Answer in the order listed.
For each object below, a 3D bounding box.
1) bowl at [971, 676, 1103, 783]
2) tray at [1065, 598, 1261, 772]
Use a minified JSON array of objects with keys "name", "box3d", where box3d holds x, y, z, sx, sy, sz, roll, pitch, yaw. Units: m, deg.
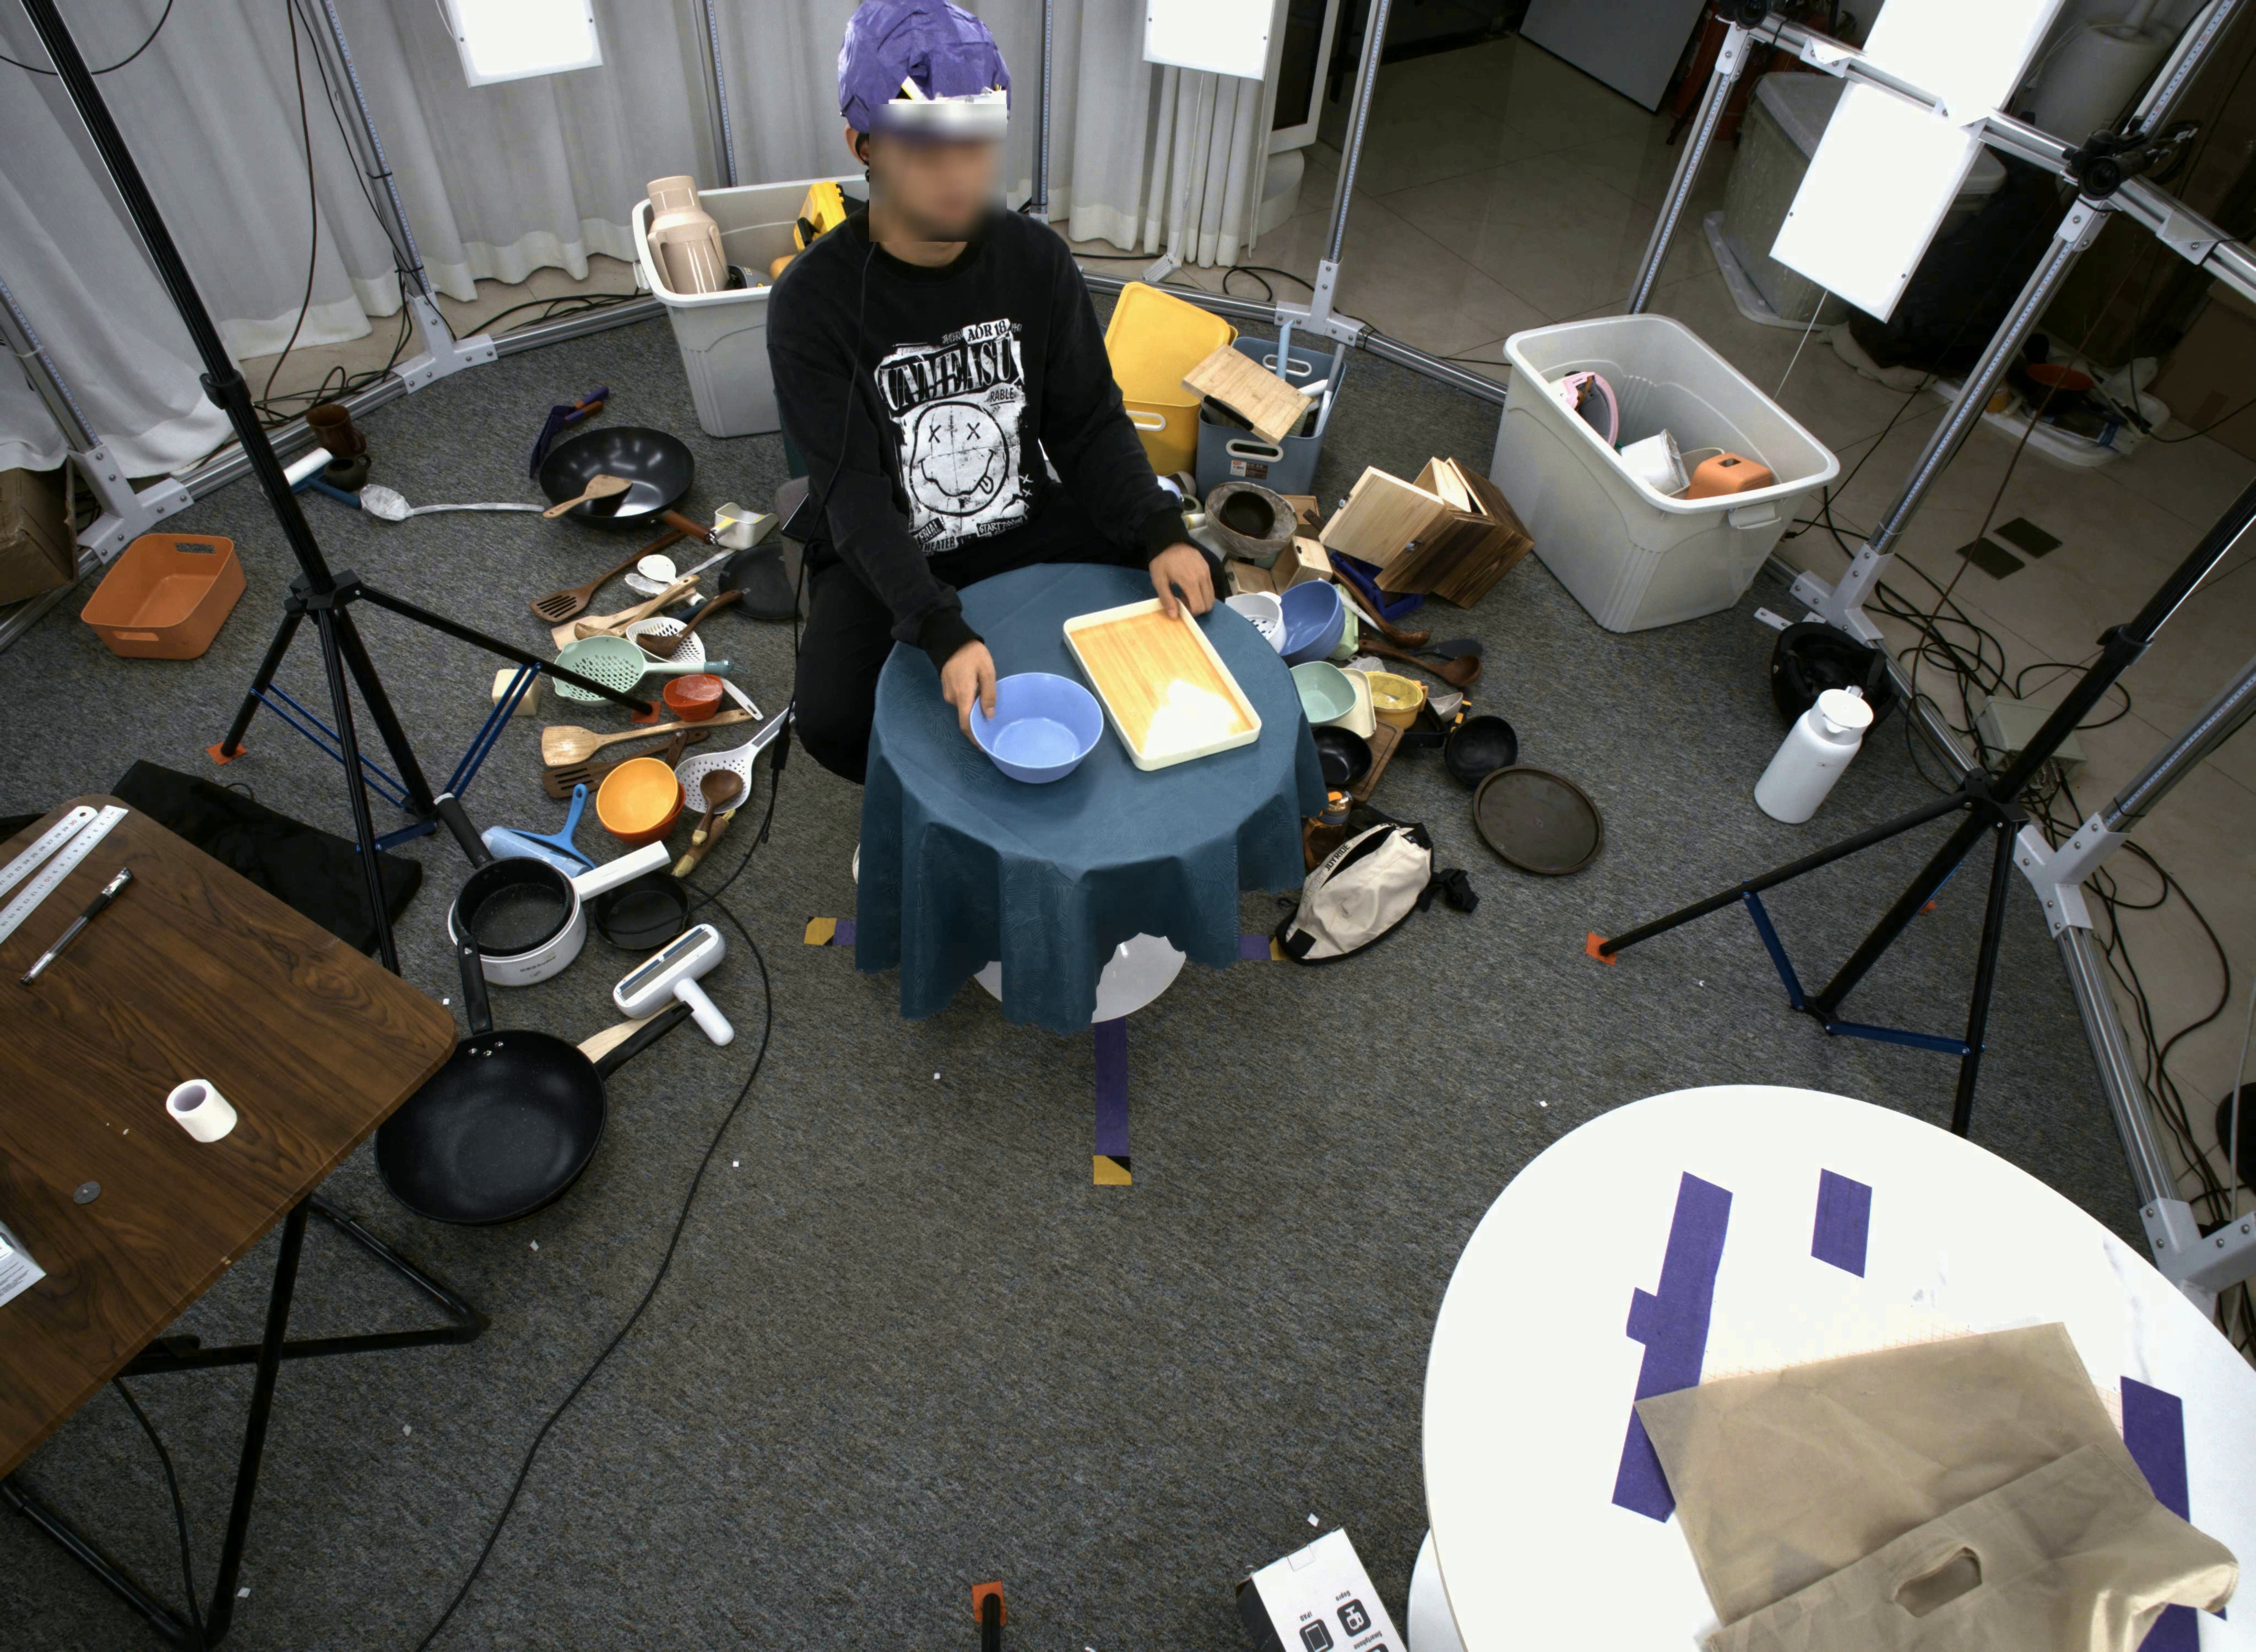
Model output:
[{"name":"bowl","box3d":[-0.124,-0.121,1.735,0.176,0.068,0.180,2,48,-3]},{"name":"tray","box3d":[0.046,-0.210,1.854,0.192,0.027,0.307,-16,52,-16]}]
